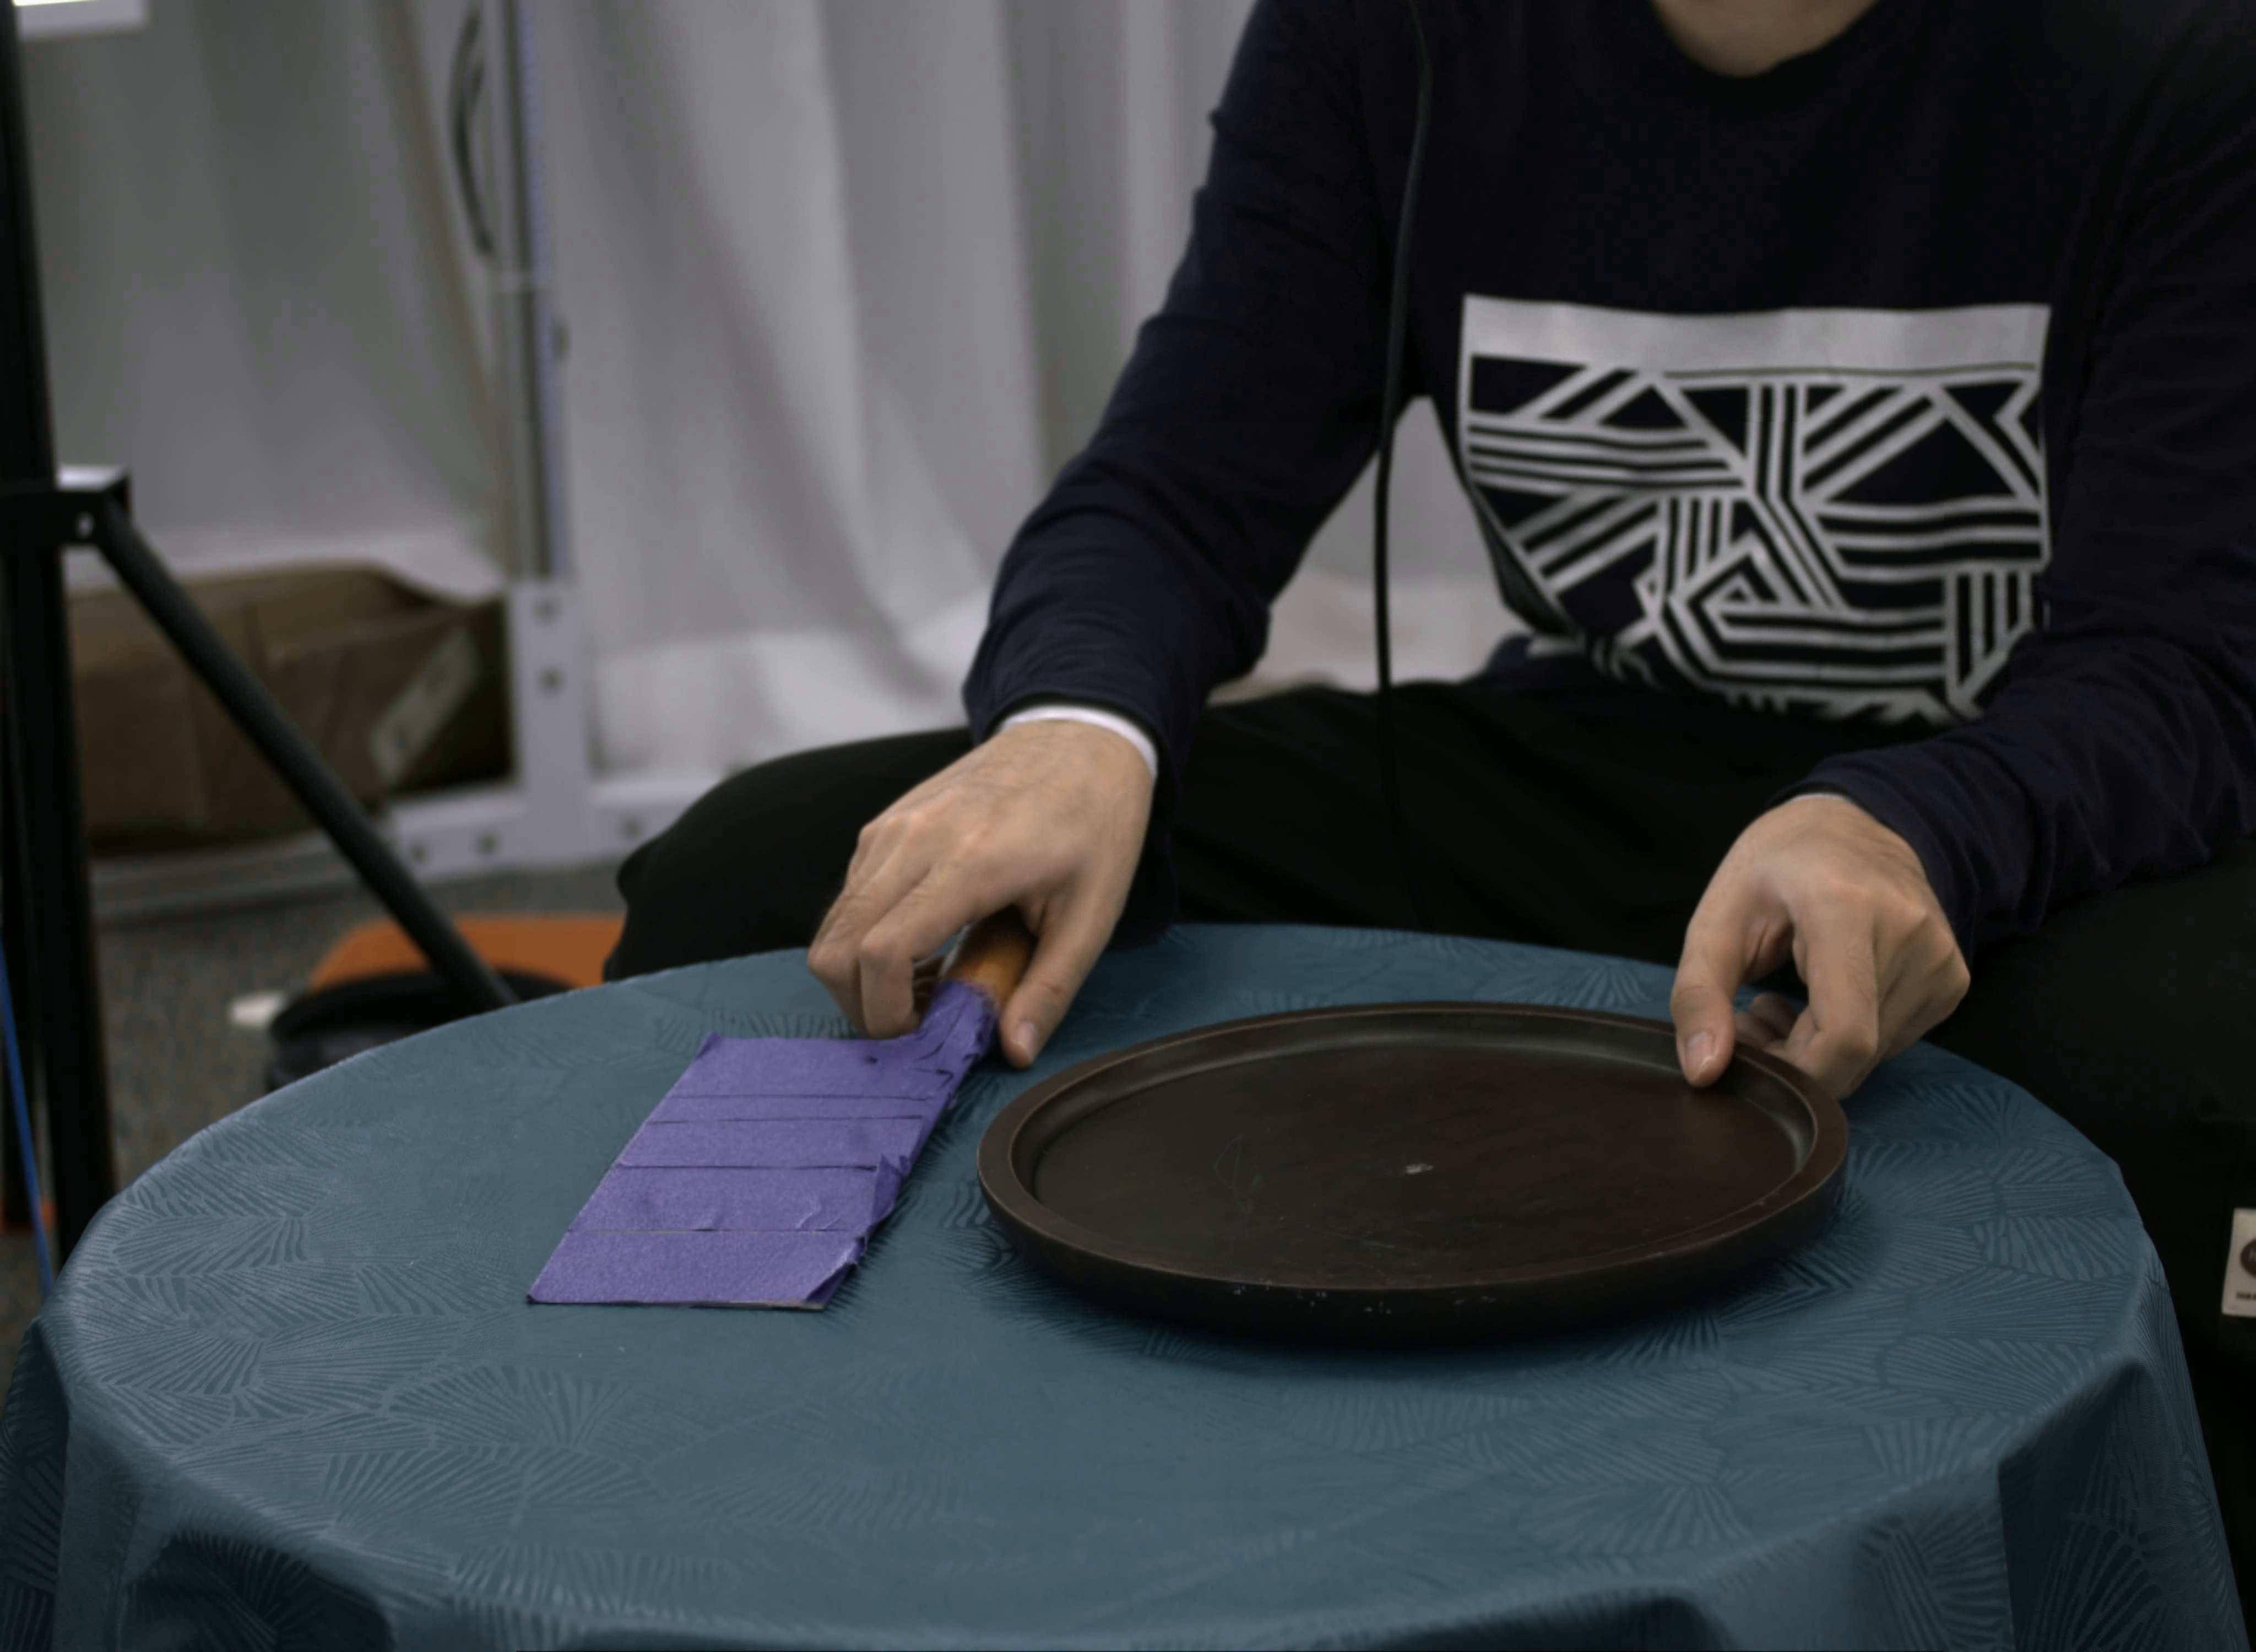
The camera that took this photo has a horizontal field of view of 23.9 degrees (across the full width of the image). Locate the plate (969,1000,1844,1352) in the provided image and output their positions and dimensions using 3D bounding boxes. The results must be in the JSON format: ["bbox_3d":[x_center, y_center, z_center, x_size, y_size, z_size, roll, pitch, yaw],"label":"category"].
[{"bbox_3d":[0.080,0.099,1.533,0.253,0.029,0.256,-3,17,0],"label":"plate"}]

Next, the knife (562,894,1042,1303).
[{"bbox_3d":[-0.097,0.080,1.626,0.104,0.032,0.314,1,17,10],"label":"knife"}]
